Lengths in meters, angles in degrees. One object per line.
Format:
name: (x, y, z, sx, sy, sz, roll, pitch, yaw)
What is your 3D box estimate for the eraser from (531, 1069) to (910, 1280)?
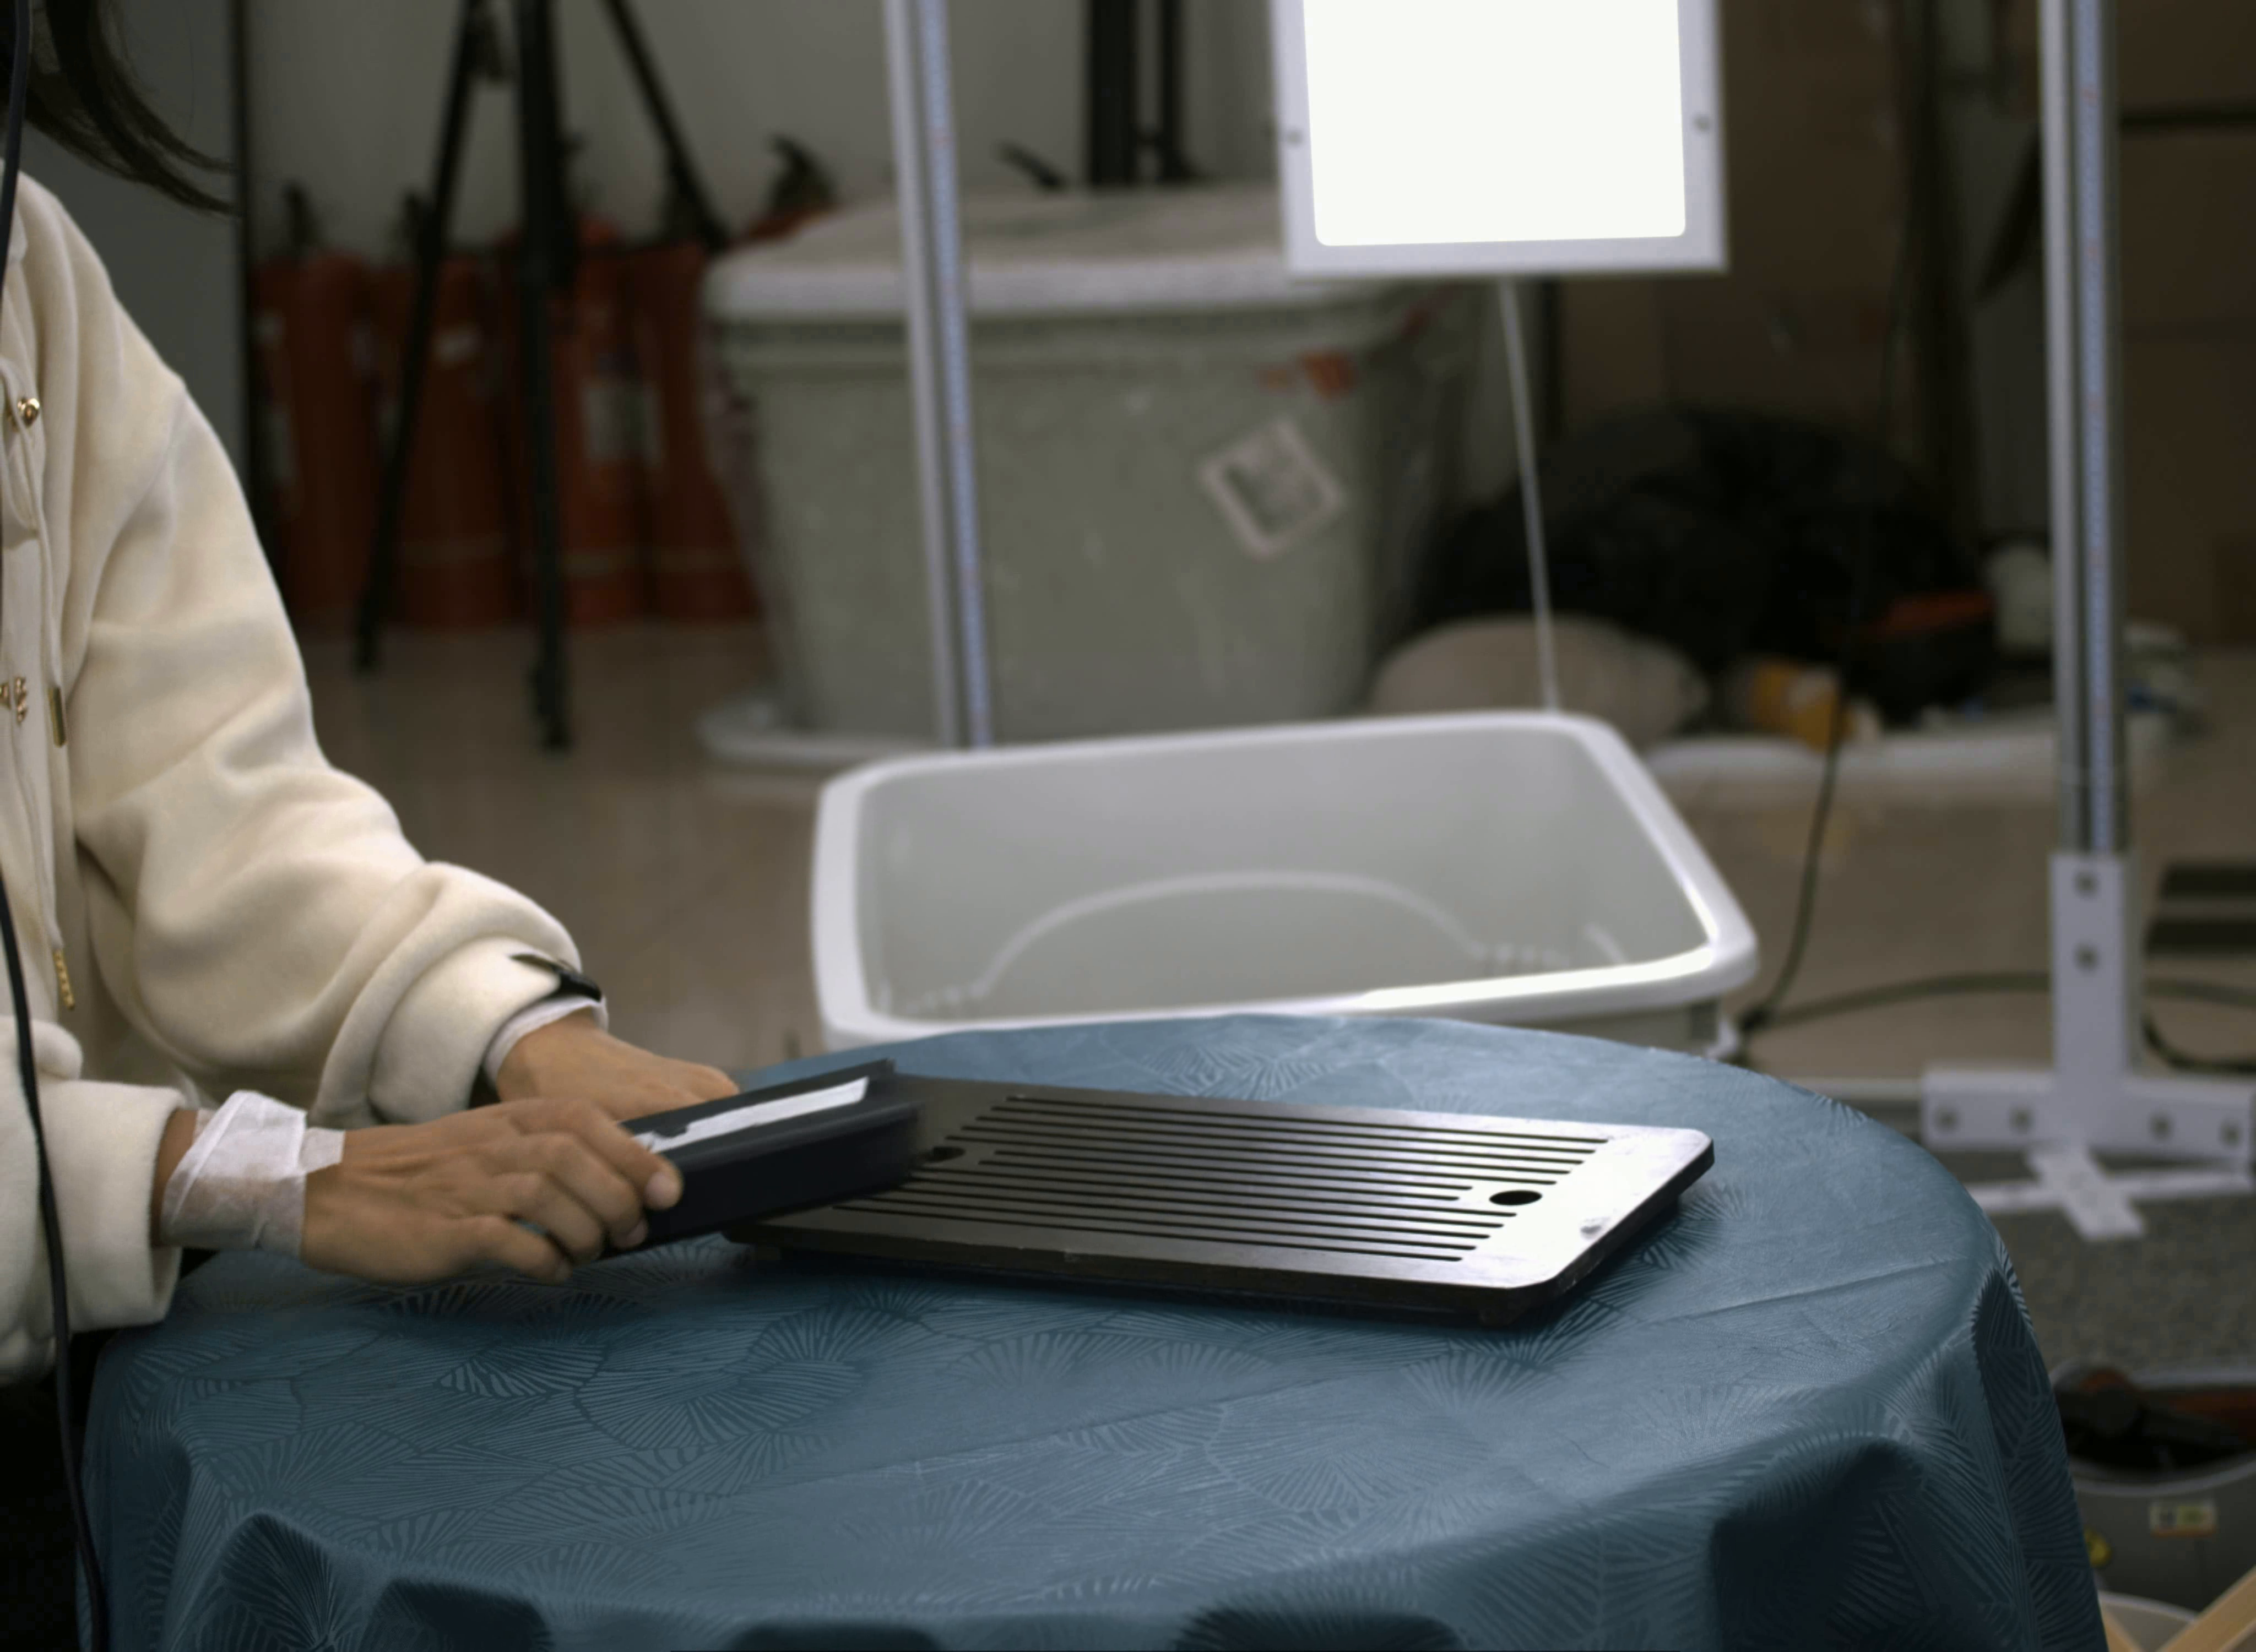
eraser: (-0.134, 0.115, 1.835, 0.126, 0.030, 0.053, -15, 18, 8)

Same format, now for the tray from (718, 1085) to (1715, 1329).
tray: (0.030, 0.126, 1.851, 0.311, 0.019, 0.166, 3, 16, 28)
